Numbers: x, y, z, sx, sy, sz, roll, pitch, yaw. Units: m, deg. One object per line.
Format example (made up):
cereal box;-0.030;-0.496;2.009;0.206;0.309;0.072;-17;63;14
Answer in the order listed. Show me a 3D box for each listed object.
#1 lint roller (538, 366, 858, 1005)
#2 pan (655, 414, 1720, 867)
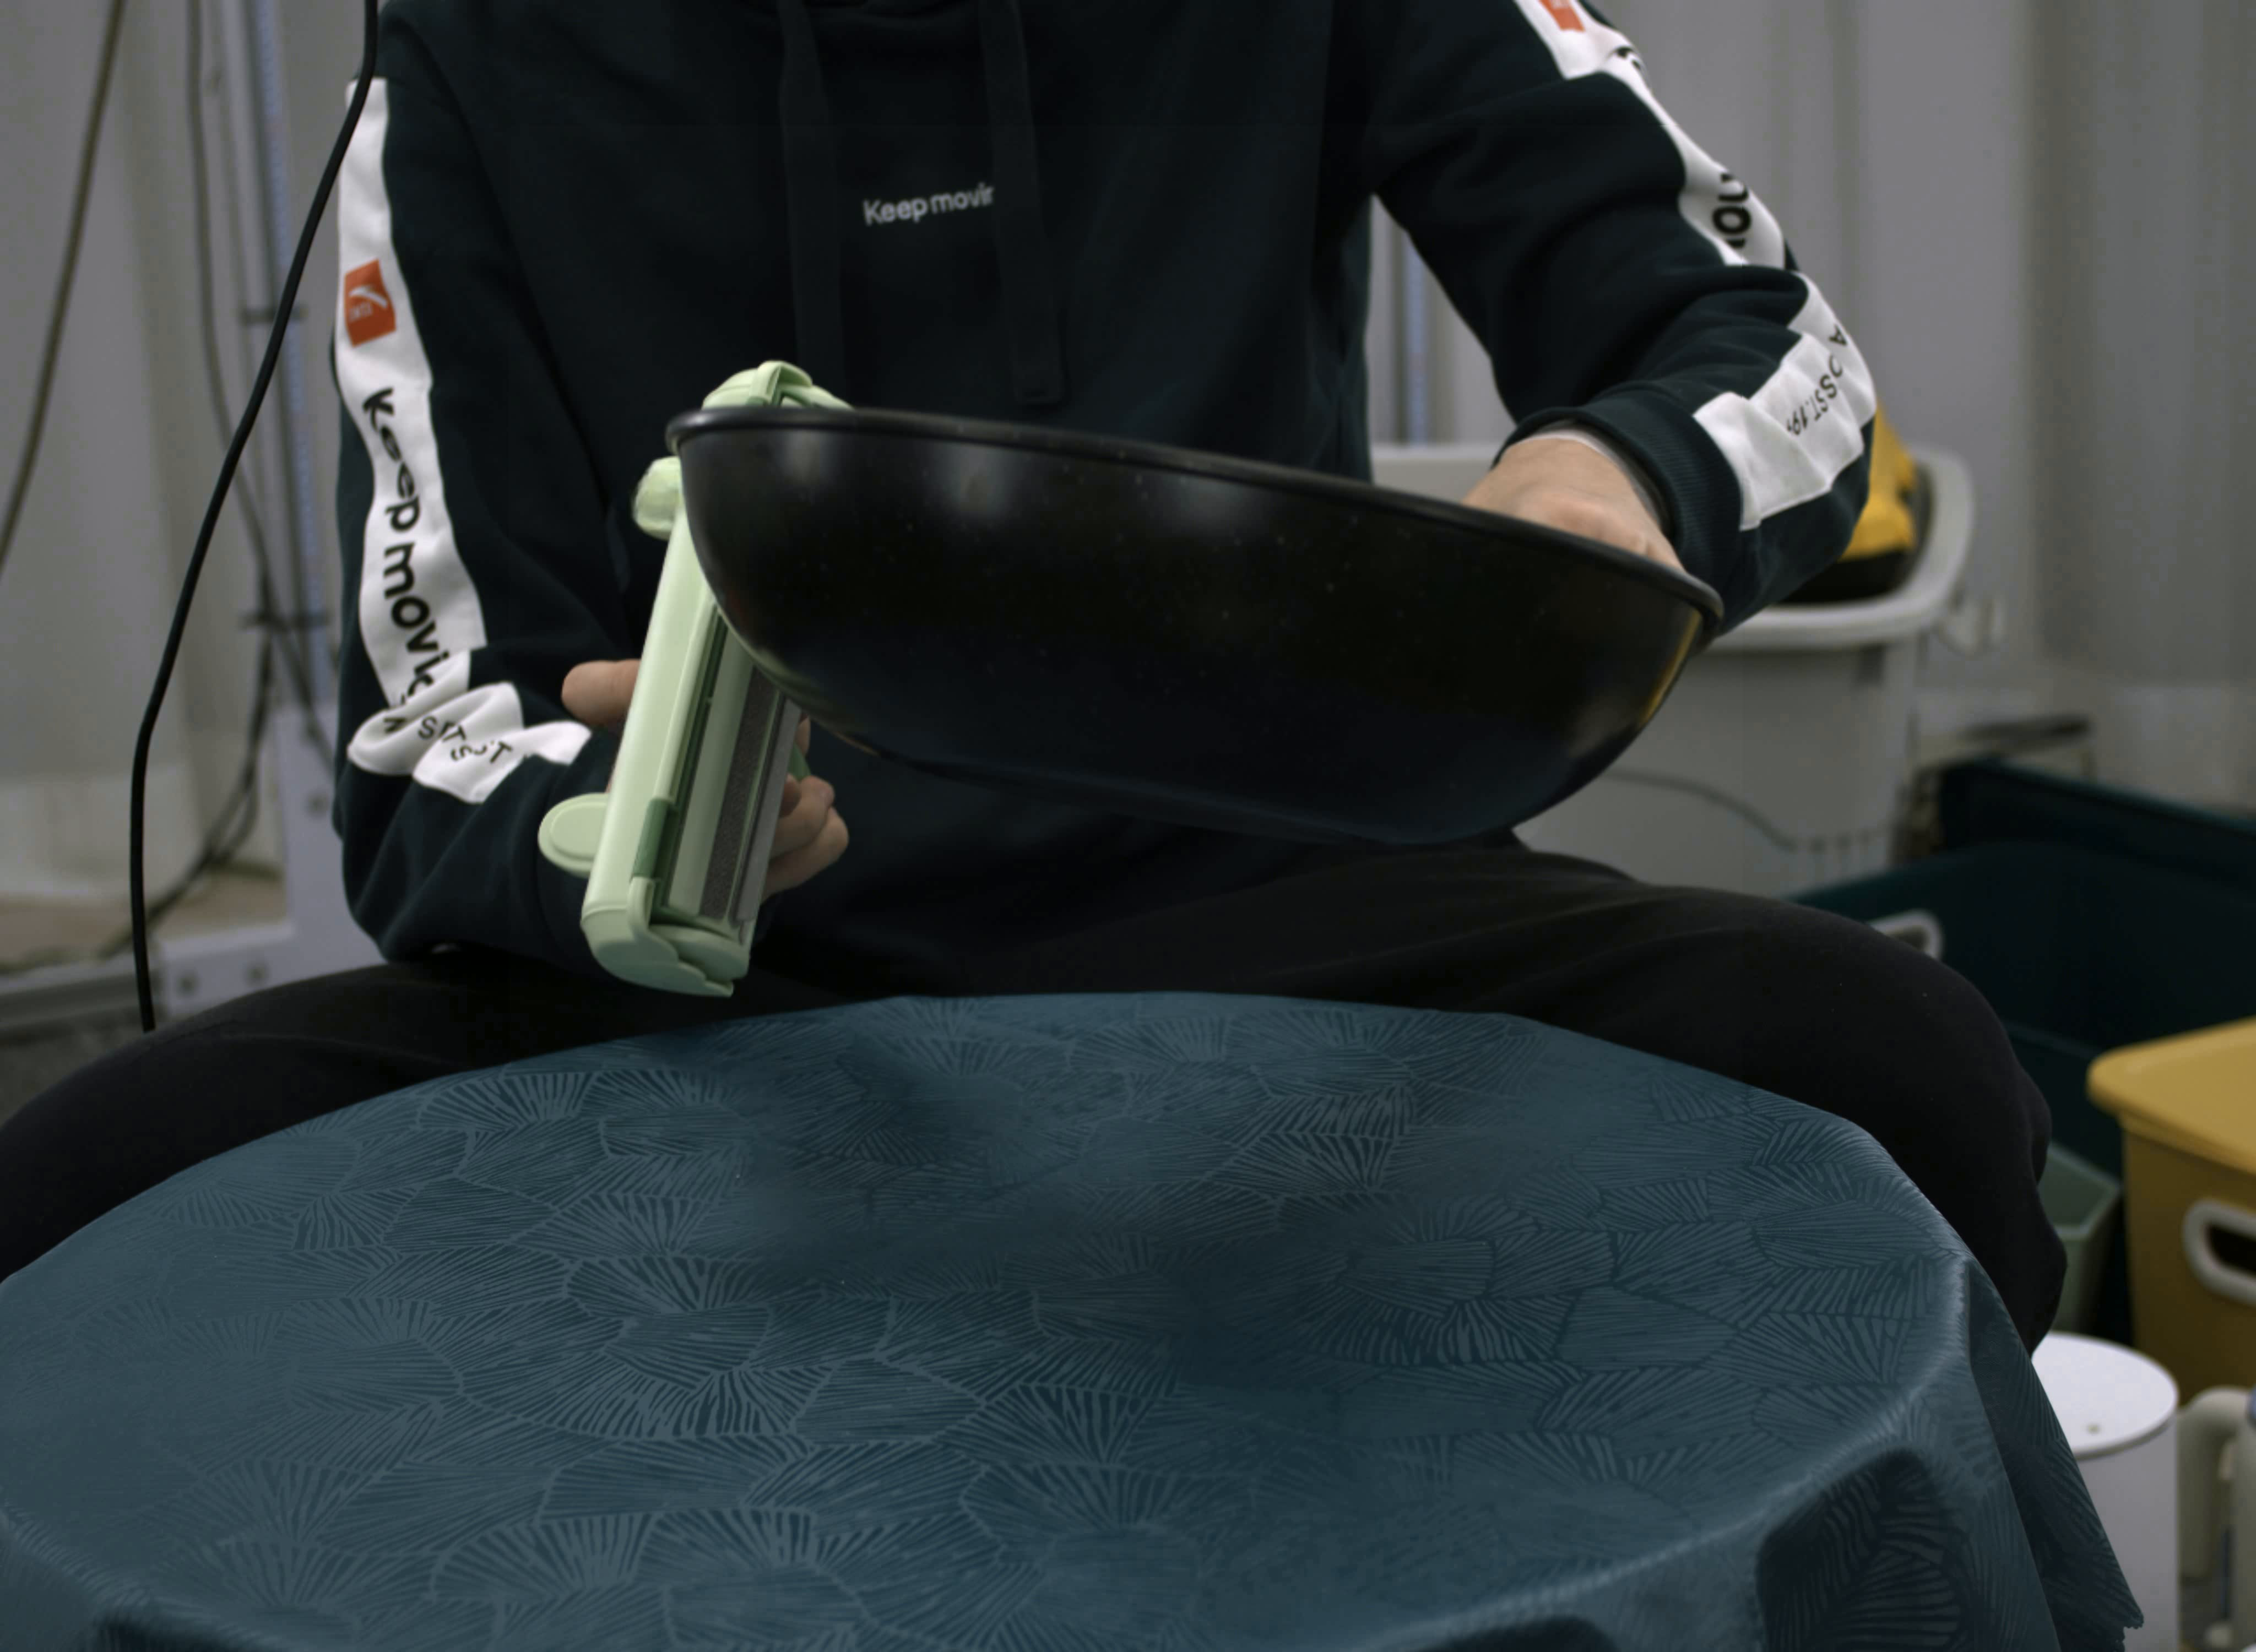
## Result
lint roller;-0.140;-0.029;1.766;0.082;0.201;0.182;12;-19;-4
pan;0.055;-0.045;1.640;0.311;0.112;0.473;9;-2;33
